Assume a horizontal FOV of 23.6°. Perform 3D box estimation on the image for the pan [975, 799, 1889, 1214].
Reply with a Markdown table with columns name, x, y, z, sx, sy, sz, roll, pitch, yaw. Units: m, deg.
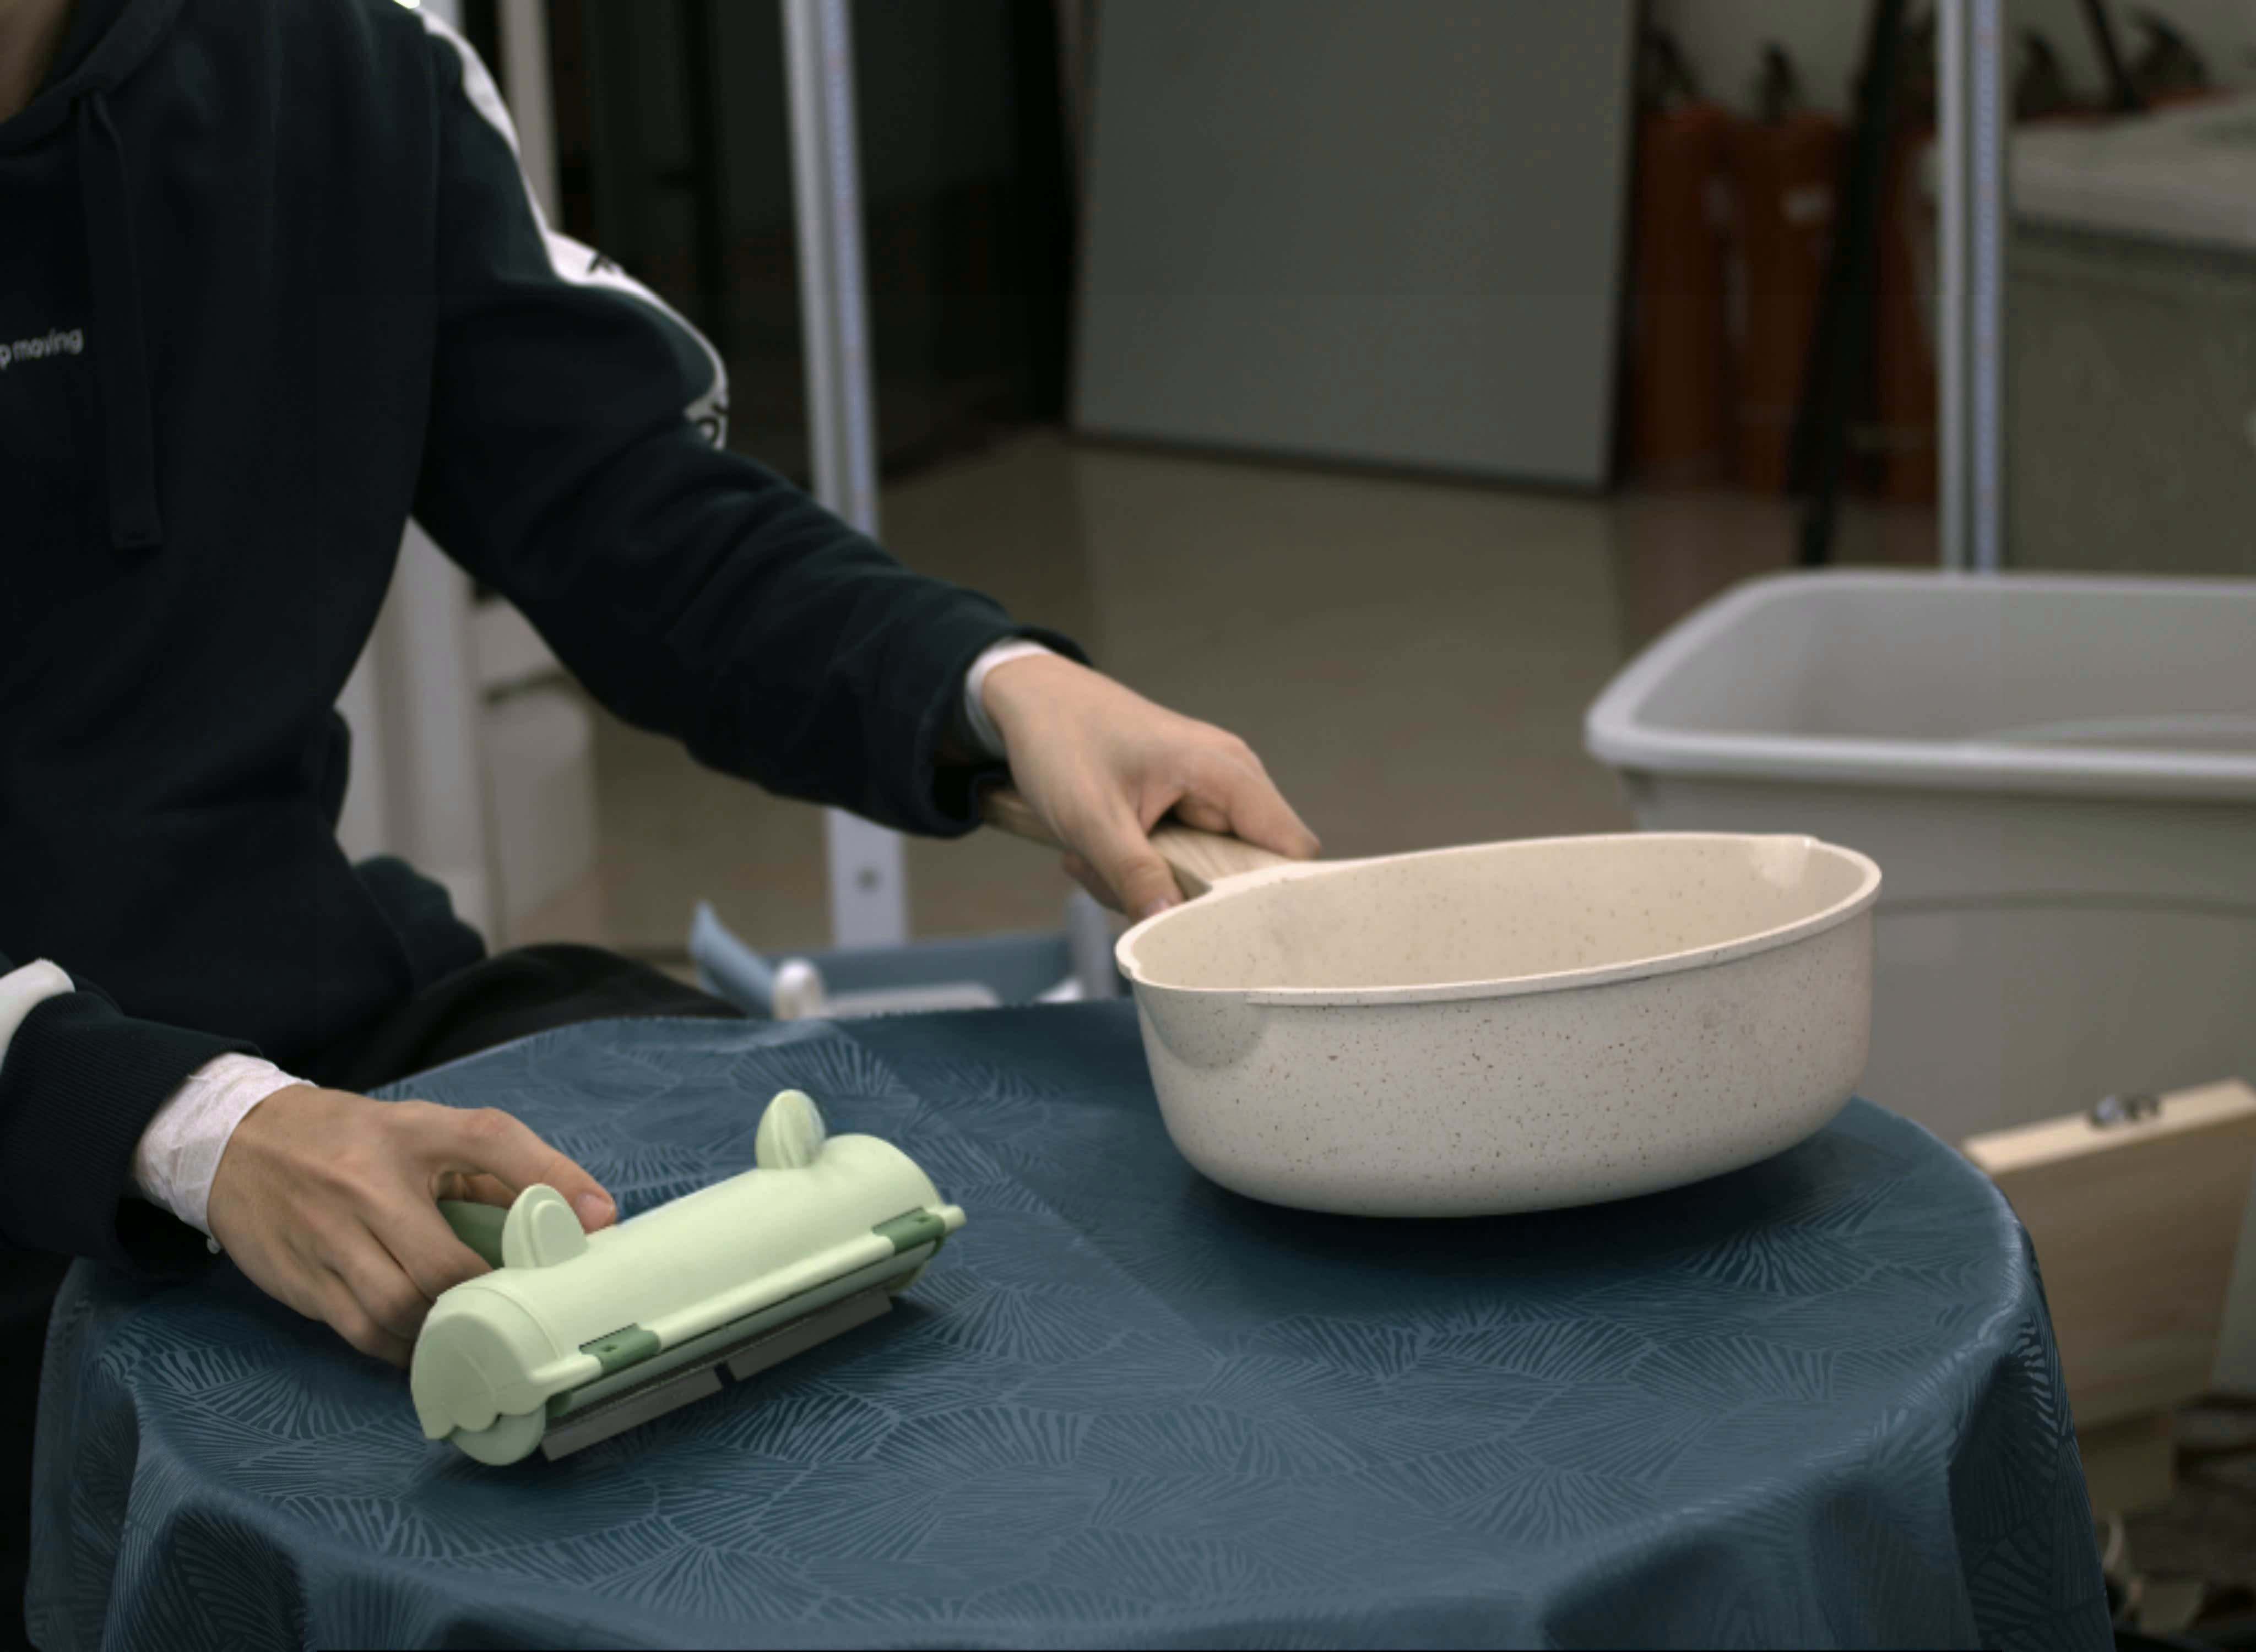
| name | x | y | z | sx | sy | sz | roll | pitch | yaw |
| --- | --- | --- | --- | --- | --- | --- | --- | --- | --- |
| pan | 0.077 | 0.051 | 1.828 | 0.257 | 0.103 | 0.439 | -14 | 10 | -31 |

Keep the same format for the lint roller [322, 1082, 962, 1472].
| name | x | y | z | sx | sy | sz | roll | pitch | yaw |
| --- | --- | --- | --- | --- | --- | --- | --- | --- | --- |
| lint roller | -0.176 | 0.120 | 1.642 | 0.184 | 0.083 | 0.195 | 15 | 21 | 34 |
